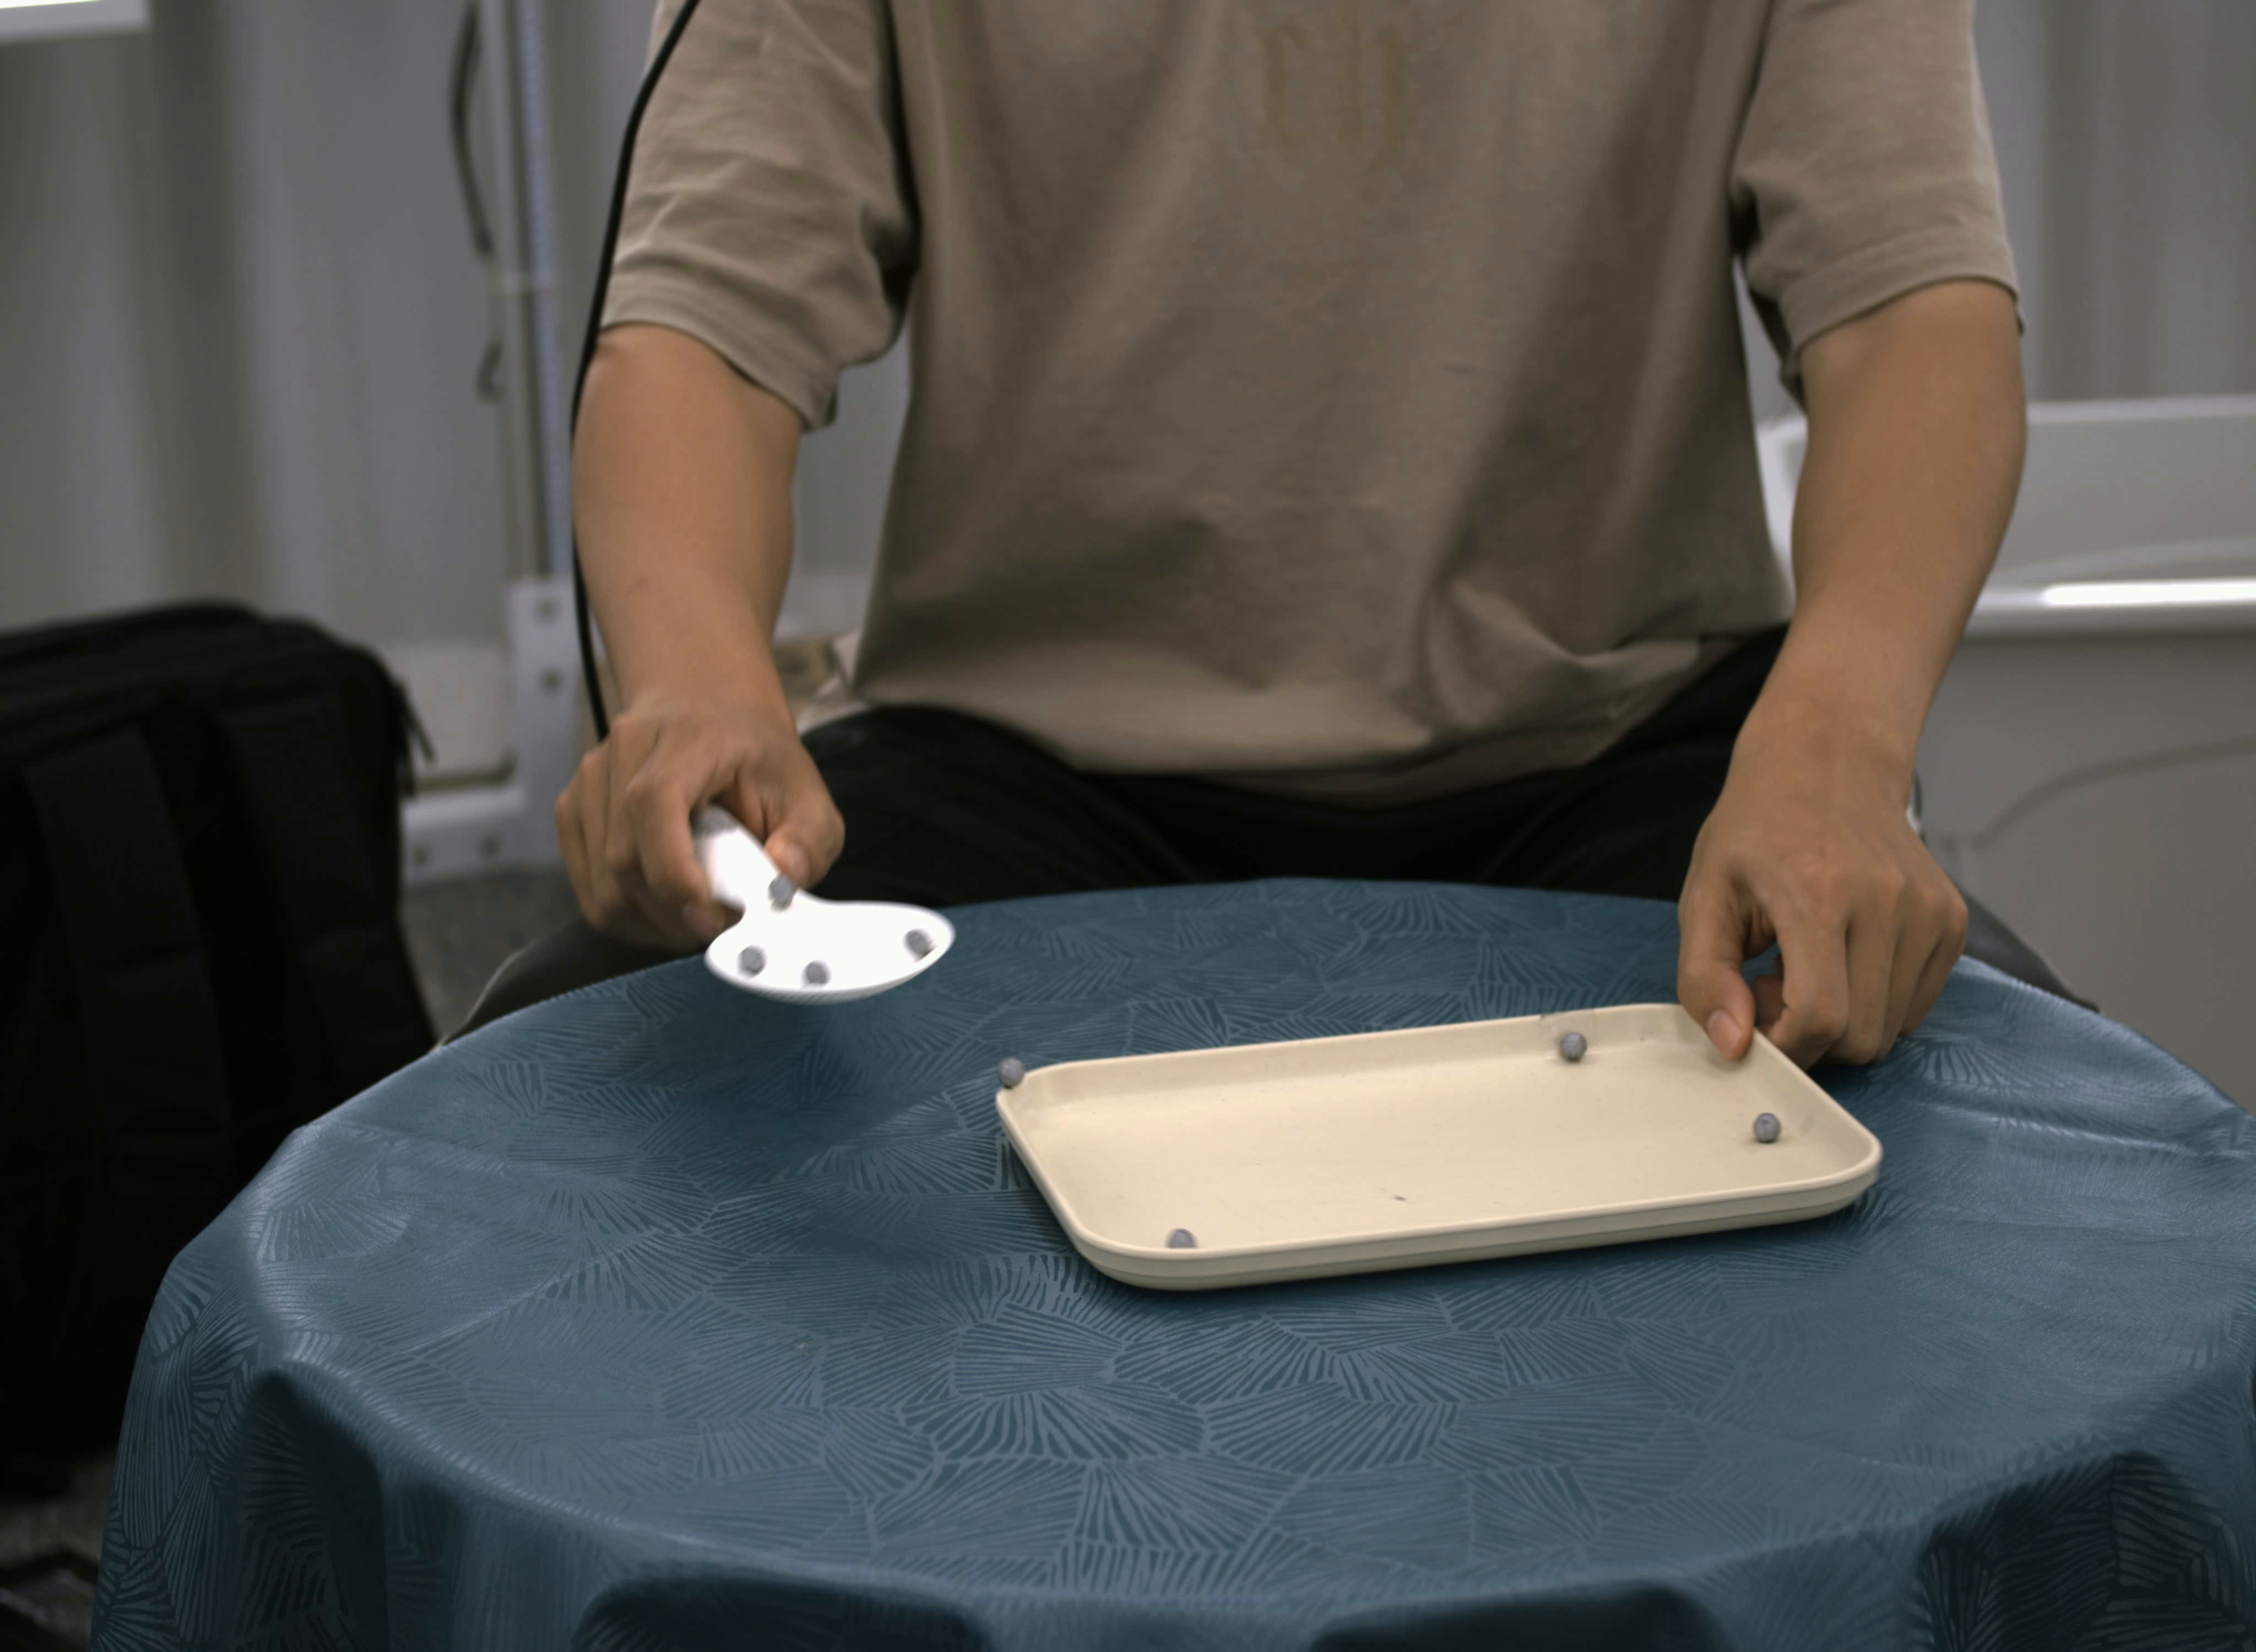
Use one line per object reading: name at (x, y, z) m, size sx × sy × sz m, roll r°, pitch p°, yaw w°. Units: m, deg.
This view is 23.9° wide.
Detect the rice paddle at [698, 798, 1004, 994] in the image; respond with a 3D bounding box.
rice paddle at (-0.089, 0.022, 1.589) m, size 0.068 × 0.029 × 0.208 m, roll -13°, pitch 13°, yaw -15°

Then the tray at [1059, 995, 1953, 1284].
tray at (0.108, 0.092, 1.553) m, size 0.236 × 0.017 × 0.173 m, roll -5°, pitch 17°, yaw -11°
